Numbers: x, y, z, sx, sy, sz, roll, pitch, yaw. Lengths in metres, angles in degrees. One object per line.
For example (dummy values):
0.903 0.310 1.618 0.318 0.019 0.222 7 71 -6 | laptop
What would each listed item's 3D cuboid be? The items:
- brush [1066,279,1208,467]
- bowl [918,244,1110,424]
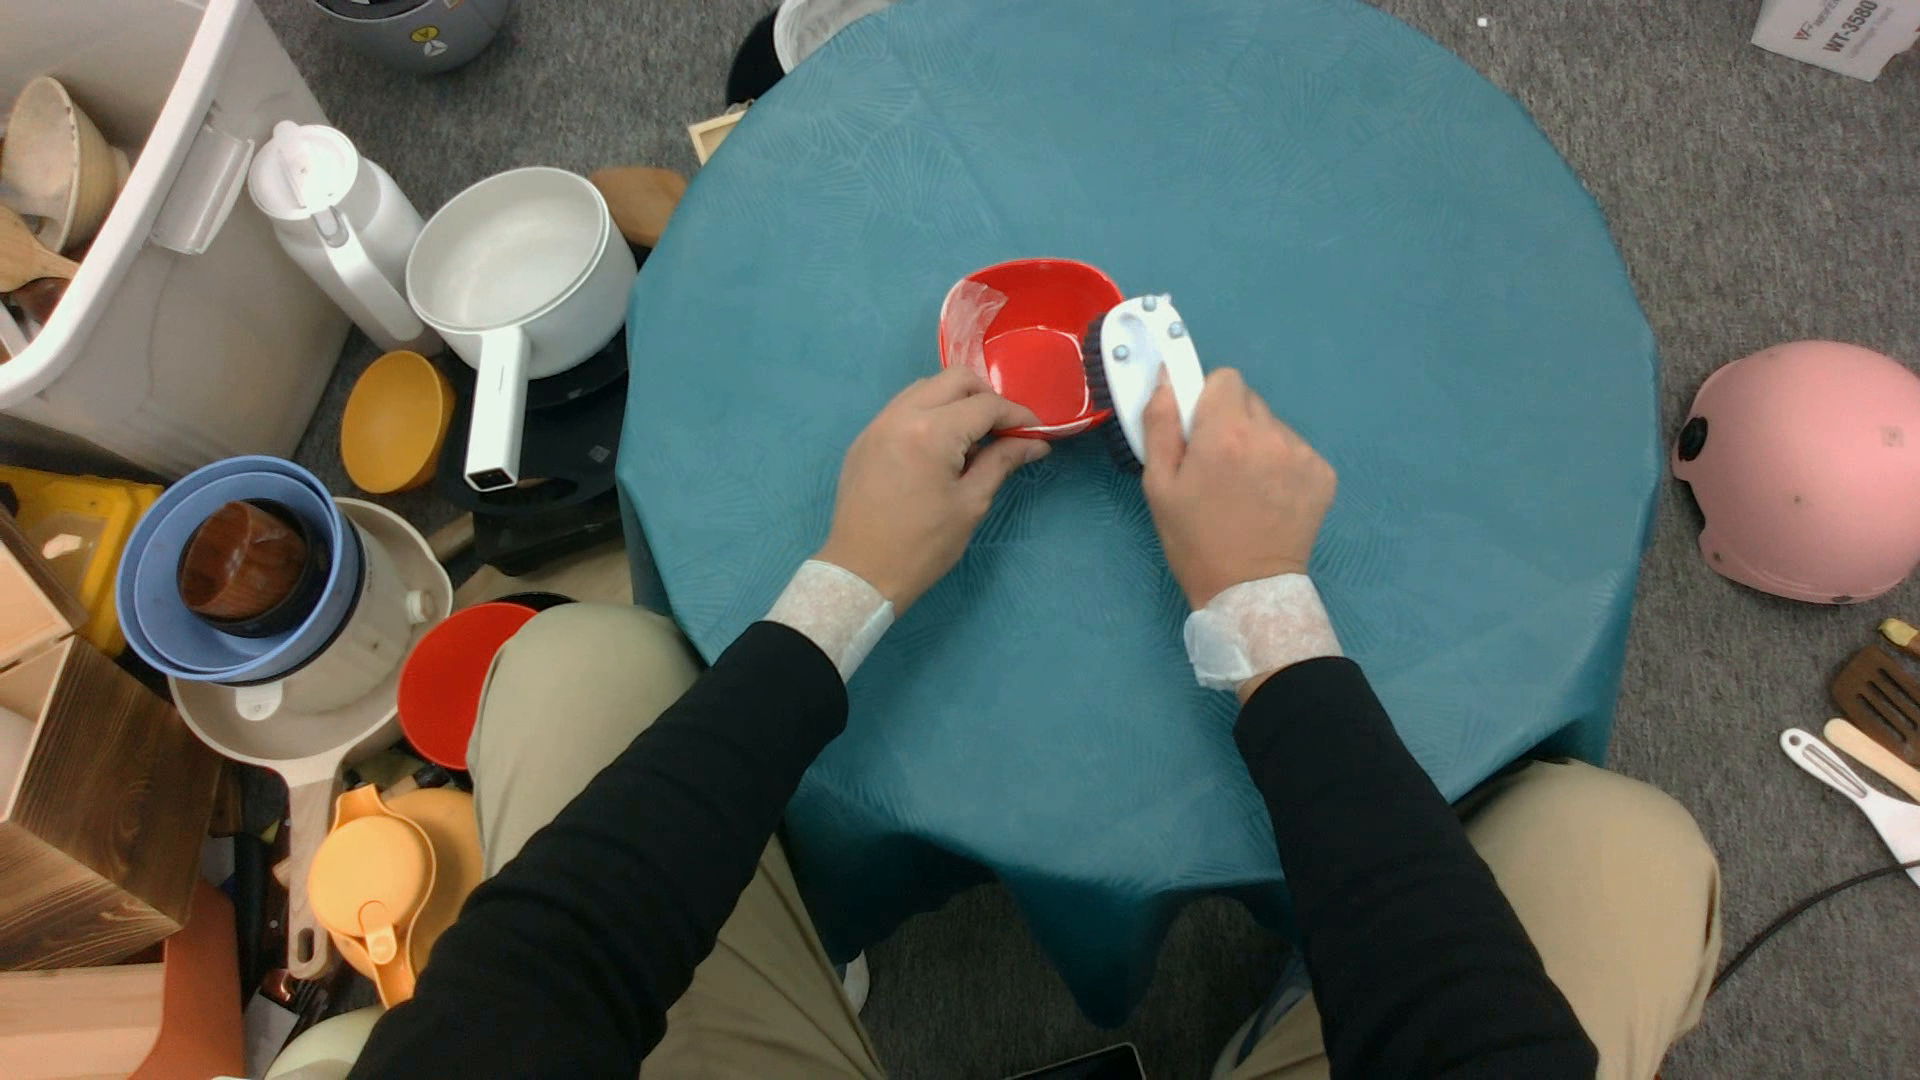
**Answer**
0.101 -0.090 0.732 0.050 0.072 0.099 -17 93 -25 | brush
0.032 -0.109 0.782 0.119 0.051 0.119 0 66 -1 | bowl
